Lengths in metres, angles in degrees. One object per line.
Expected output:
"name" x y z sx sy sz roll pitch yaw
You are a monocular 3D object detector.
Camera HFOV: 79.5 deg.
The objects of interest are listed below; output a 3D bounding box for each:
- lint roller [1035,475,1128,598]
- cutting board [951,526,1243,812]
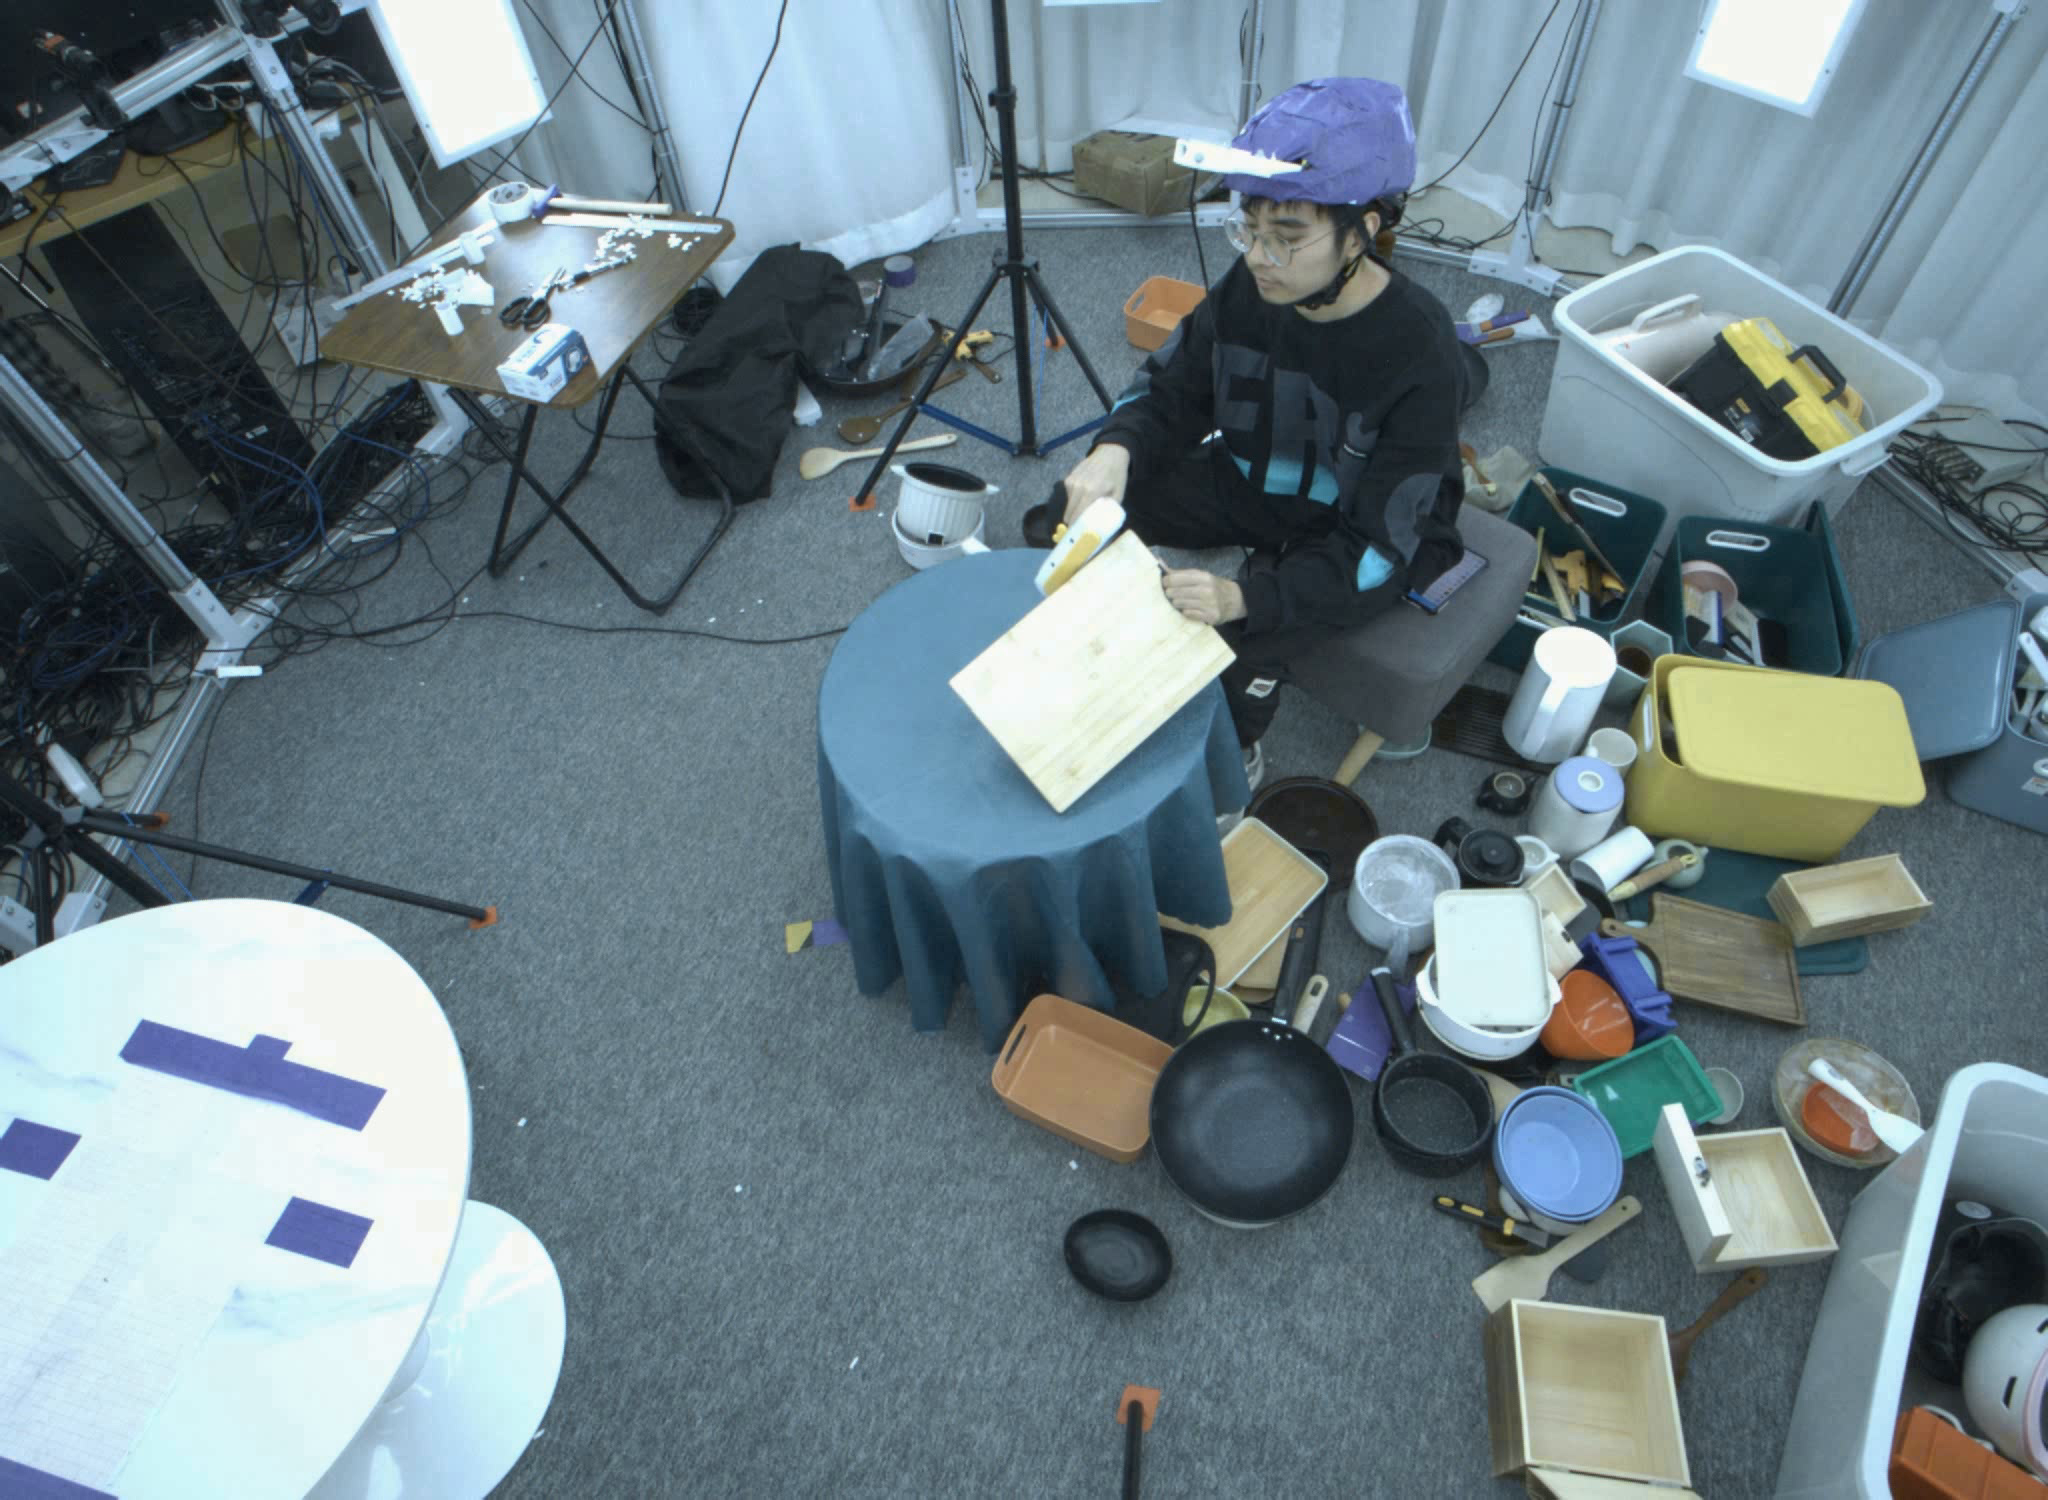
"lint roller" 0.090 -0.333 1.789 0.074 0.192 0.192 30 46 -6
"cutting board" 0.103 -0.116 1.725 0.349 0.023 0.252 -42 97 -8
